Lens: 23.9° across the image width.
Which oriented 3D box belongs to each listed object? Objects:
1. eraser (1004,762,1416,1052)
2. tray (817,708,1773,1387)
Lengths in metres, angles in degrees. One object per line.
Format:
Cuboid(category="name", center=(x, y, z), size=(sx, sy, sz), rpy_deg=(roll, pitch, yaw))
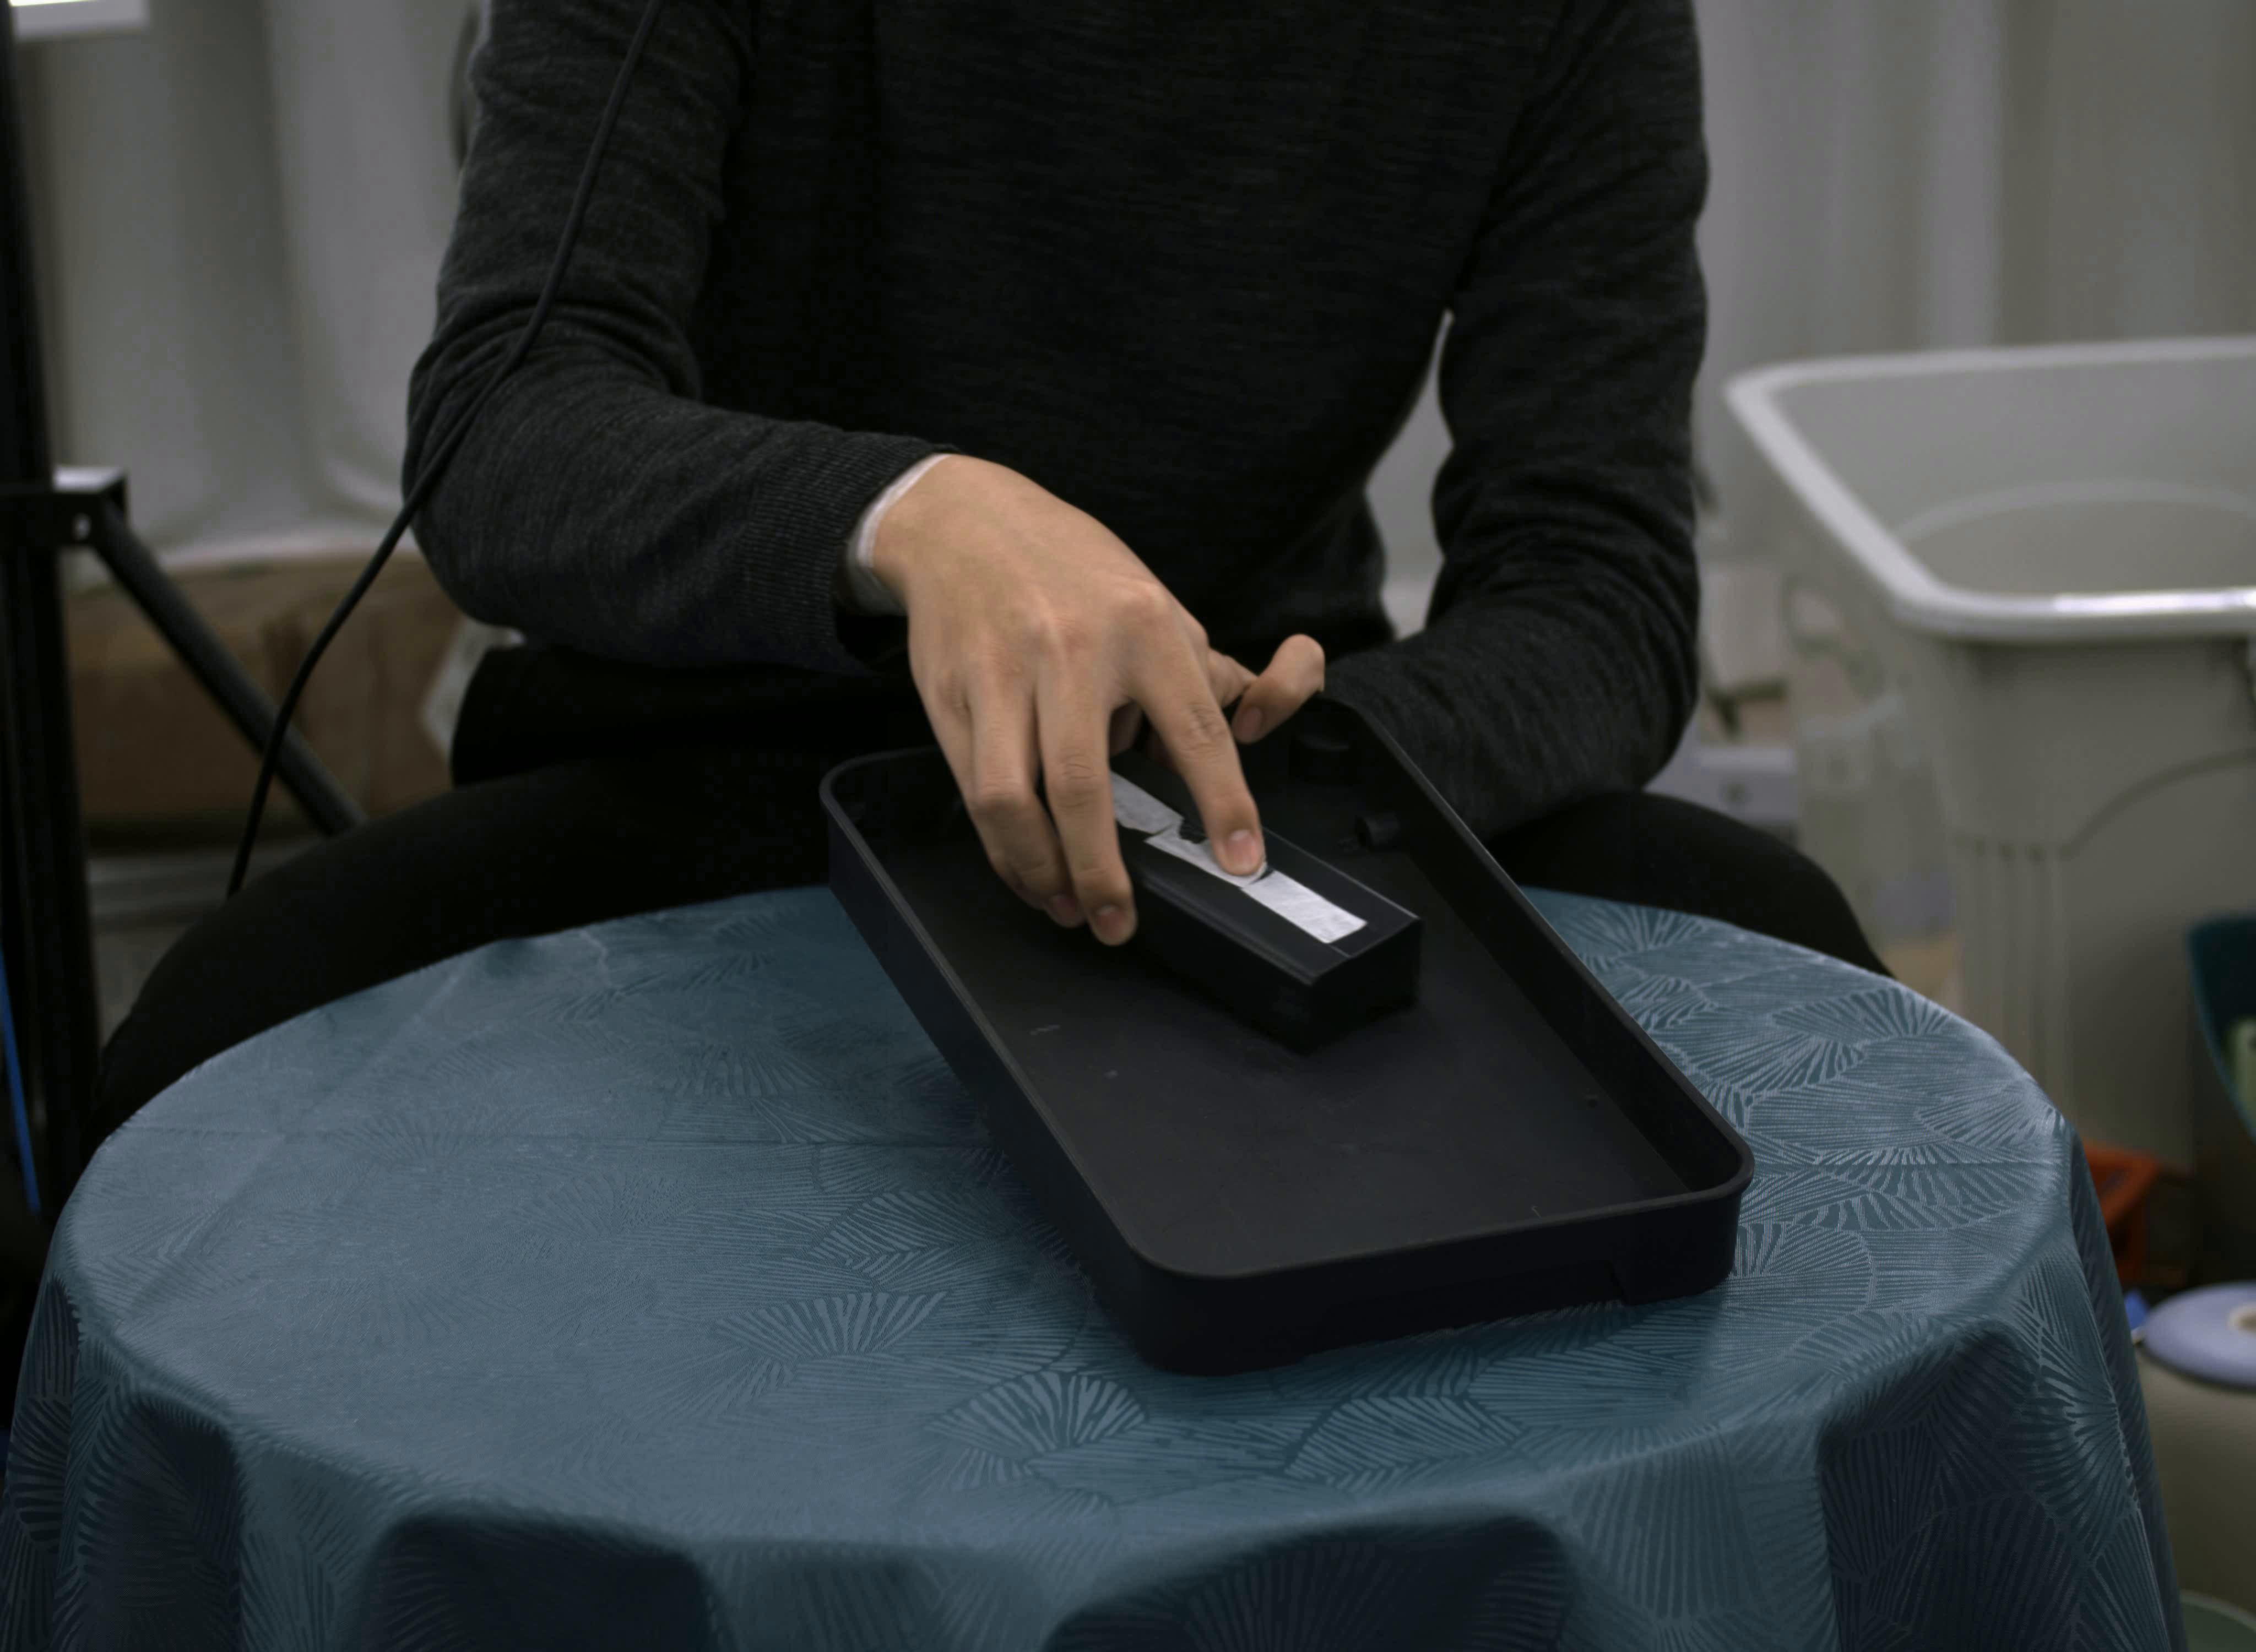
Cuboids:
Cuboid(category="eraser", center=(0.024, 0.023, 1.600), size=(0.128, 0.030, 0.052), rpy_deg=(30, 39, 35))
Cuboid(category="tray", center=(0.040, 0.057, 1.553), size=(0.181, 0.037, 0.324), rpy_deg=(-9, 29, -19))
